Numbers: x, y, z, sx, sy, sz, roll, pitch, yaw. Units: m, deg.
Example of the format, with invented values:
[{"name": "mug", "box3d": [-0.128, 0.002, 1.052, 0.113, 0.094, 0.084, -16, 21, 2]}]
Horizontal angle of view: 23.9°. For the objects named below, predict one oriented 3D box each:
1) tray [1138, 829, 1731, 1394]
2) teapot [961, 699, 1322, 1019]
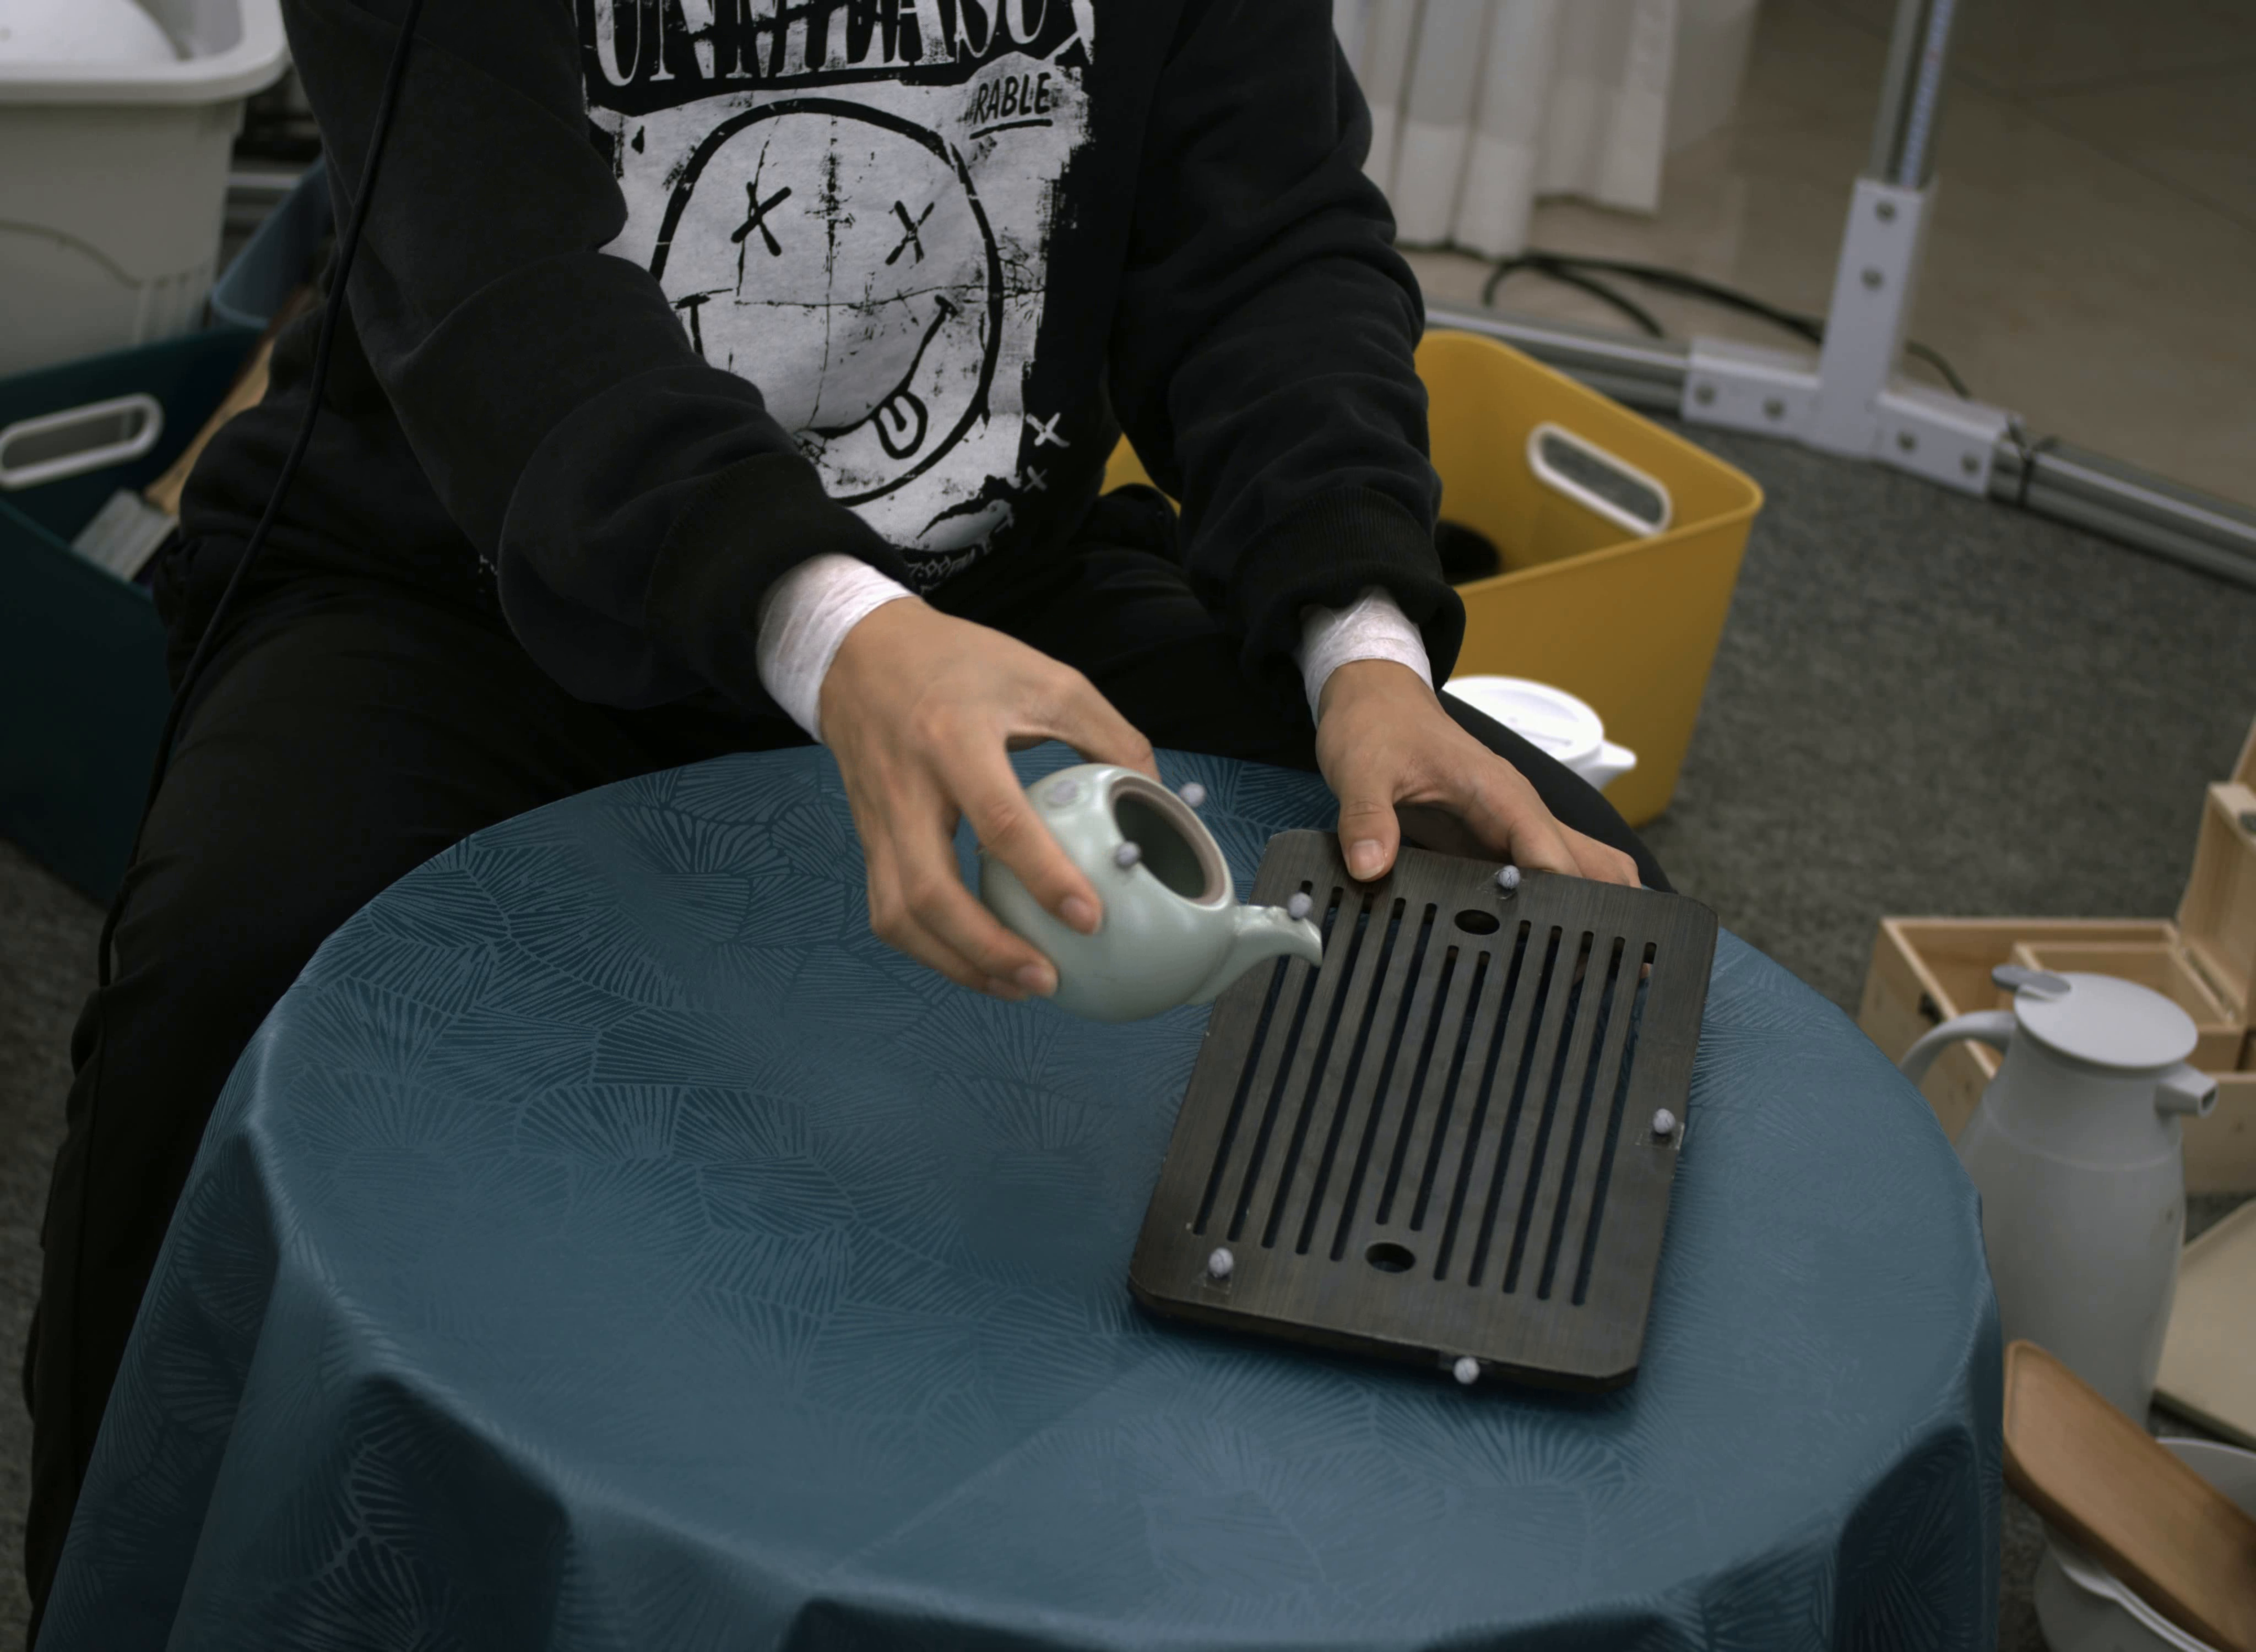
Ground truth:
[{"name": "tray", "box3d": [0.112, 0.095, 1.844, 0.170, 0.018, 0.307, 10, 31, 7]}, {"name": "teapot", "box3d": [-0.006, 0.020, 1.760, 0.143, 0.075, 0.089, 42, 25, -23]}]
